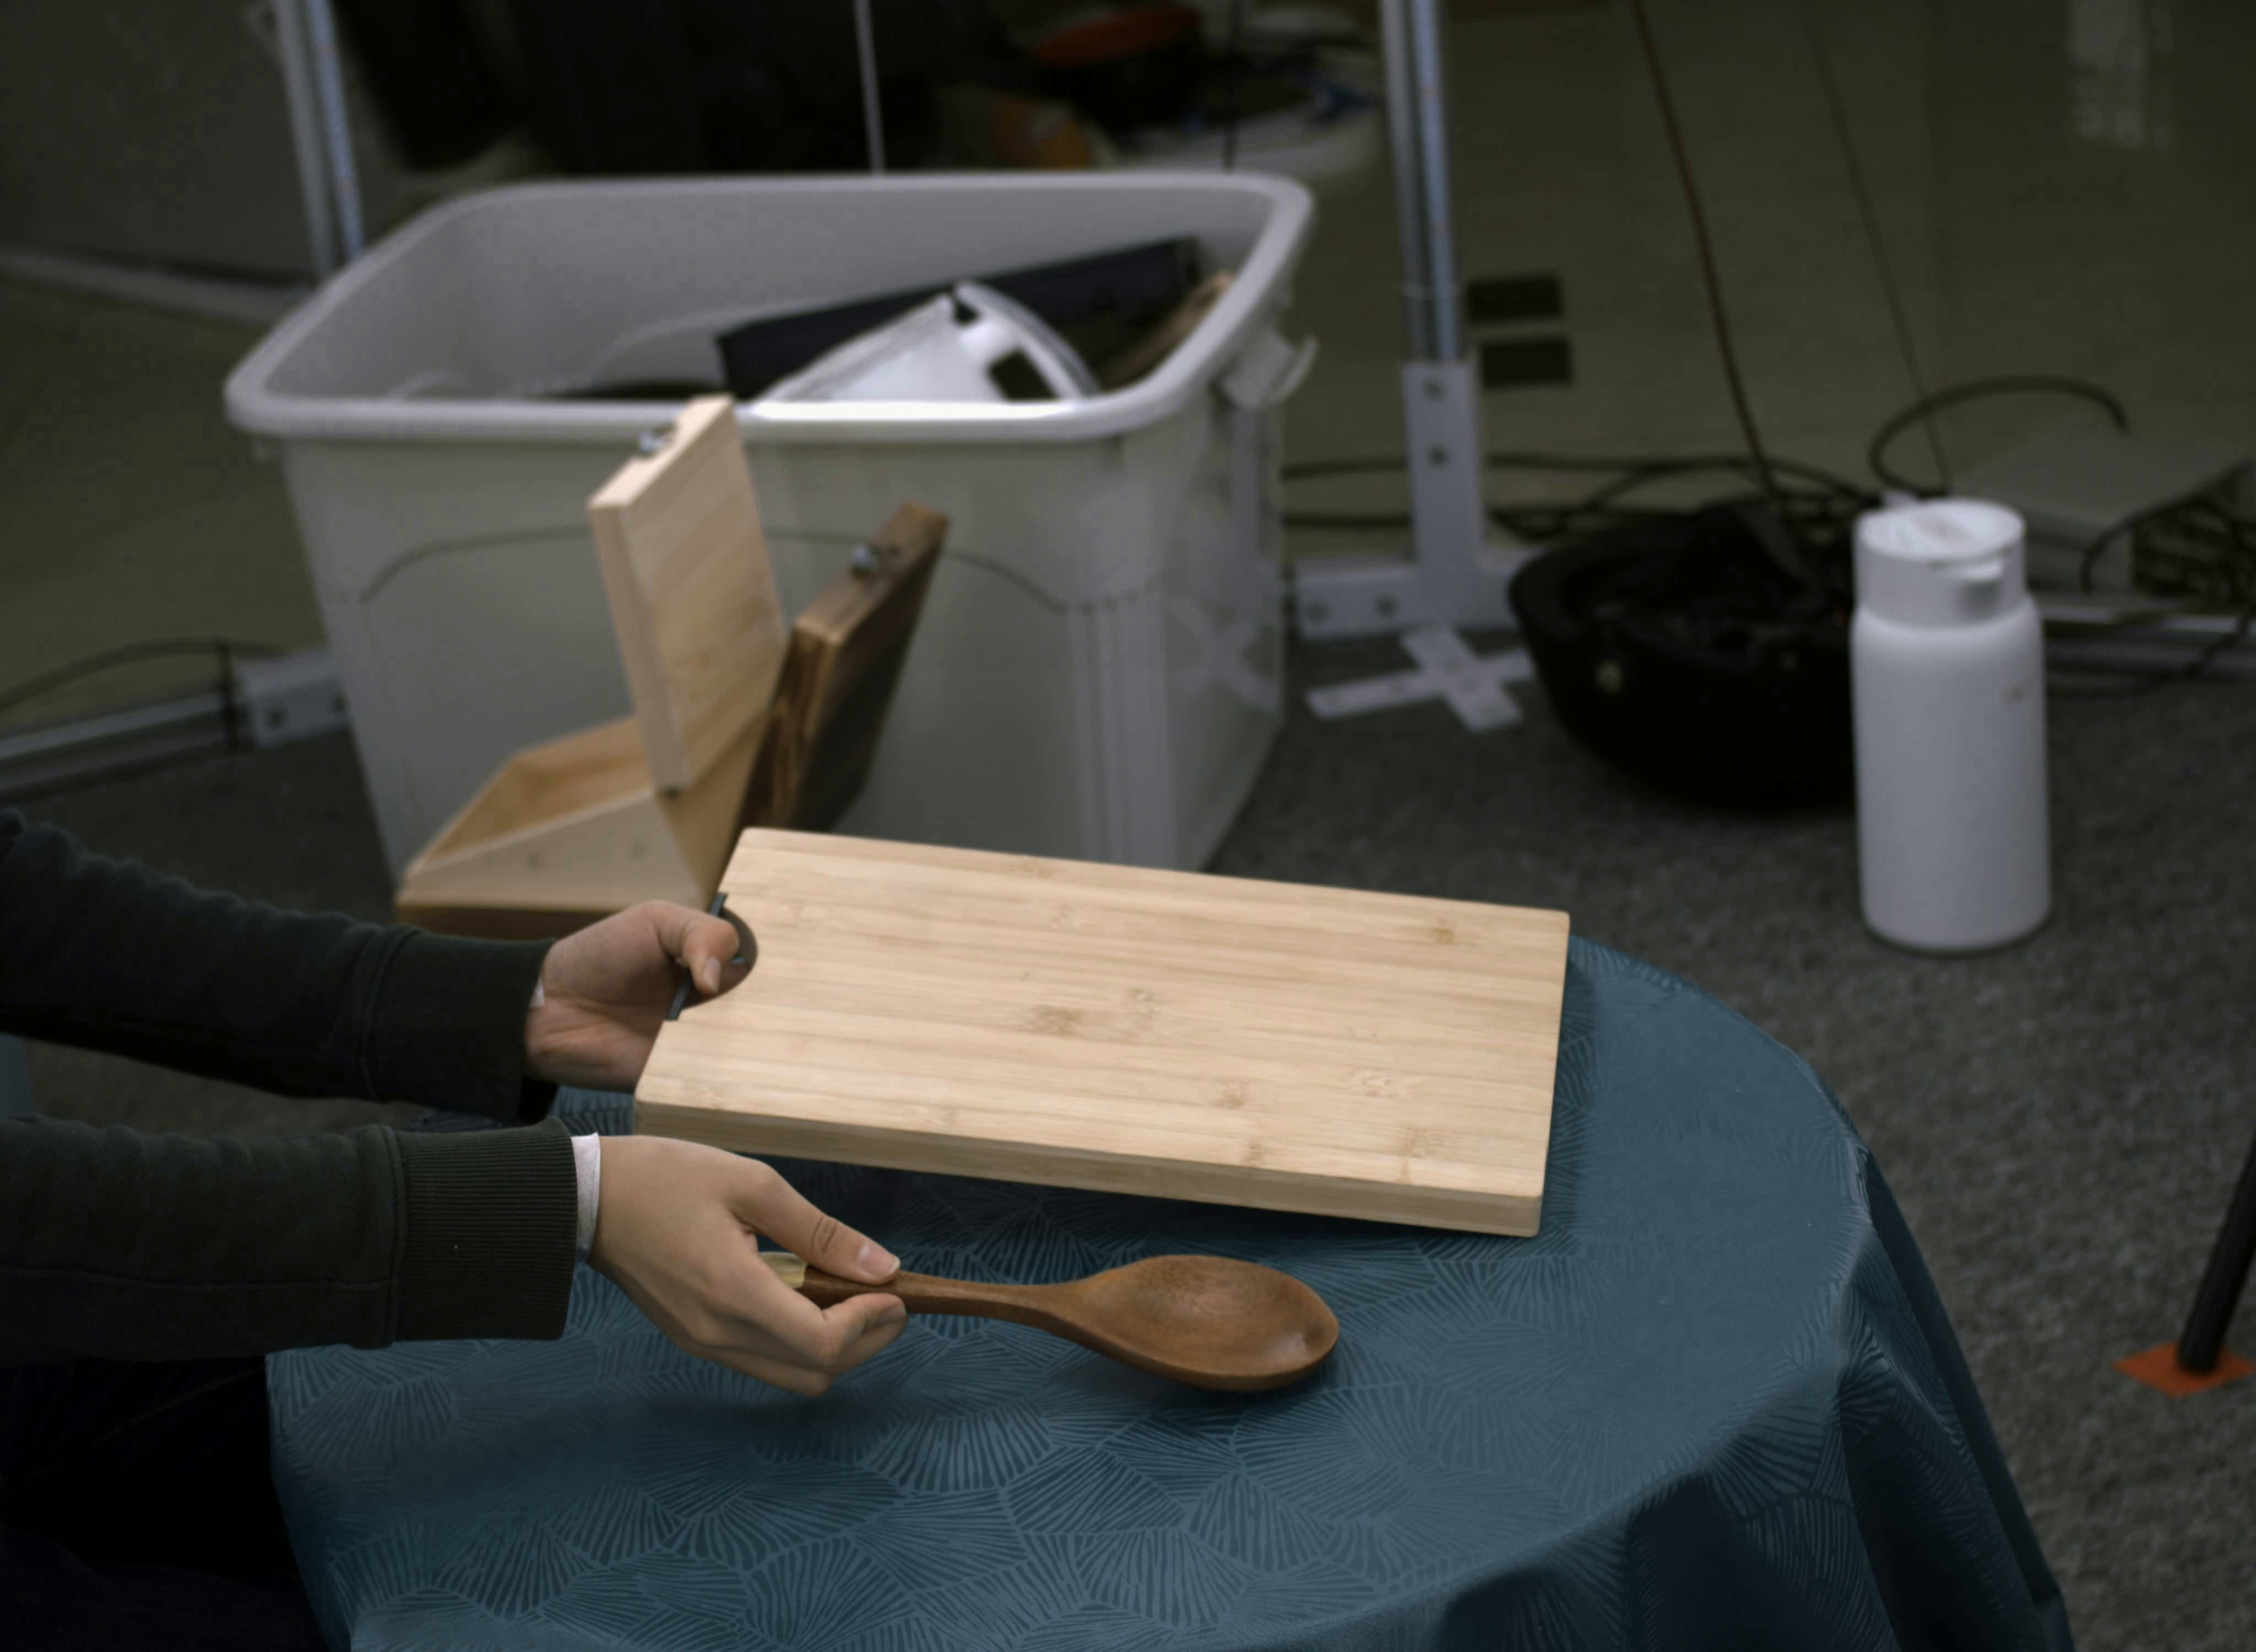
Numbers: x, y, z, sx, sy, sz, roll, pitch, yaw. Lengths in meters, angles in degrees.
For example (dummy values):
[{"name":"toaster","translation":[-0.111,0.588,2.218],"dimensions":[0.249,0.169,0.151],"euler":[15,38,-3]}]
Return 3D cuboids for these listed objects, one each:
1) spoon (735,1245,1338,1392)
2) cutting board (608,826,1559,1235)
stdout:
[{"name":"spoon","translation":[-0.033,0.170,2.018],"dimensions":[0.215,0.017,0.074],"euler":[7,32,-4]},{"name":"cutting board","translation":[-0.010,0.076,2.202],"dimensions":[0.348,0.024,0.247],"euler":[6,25,3]}]
